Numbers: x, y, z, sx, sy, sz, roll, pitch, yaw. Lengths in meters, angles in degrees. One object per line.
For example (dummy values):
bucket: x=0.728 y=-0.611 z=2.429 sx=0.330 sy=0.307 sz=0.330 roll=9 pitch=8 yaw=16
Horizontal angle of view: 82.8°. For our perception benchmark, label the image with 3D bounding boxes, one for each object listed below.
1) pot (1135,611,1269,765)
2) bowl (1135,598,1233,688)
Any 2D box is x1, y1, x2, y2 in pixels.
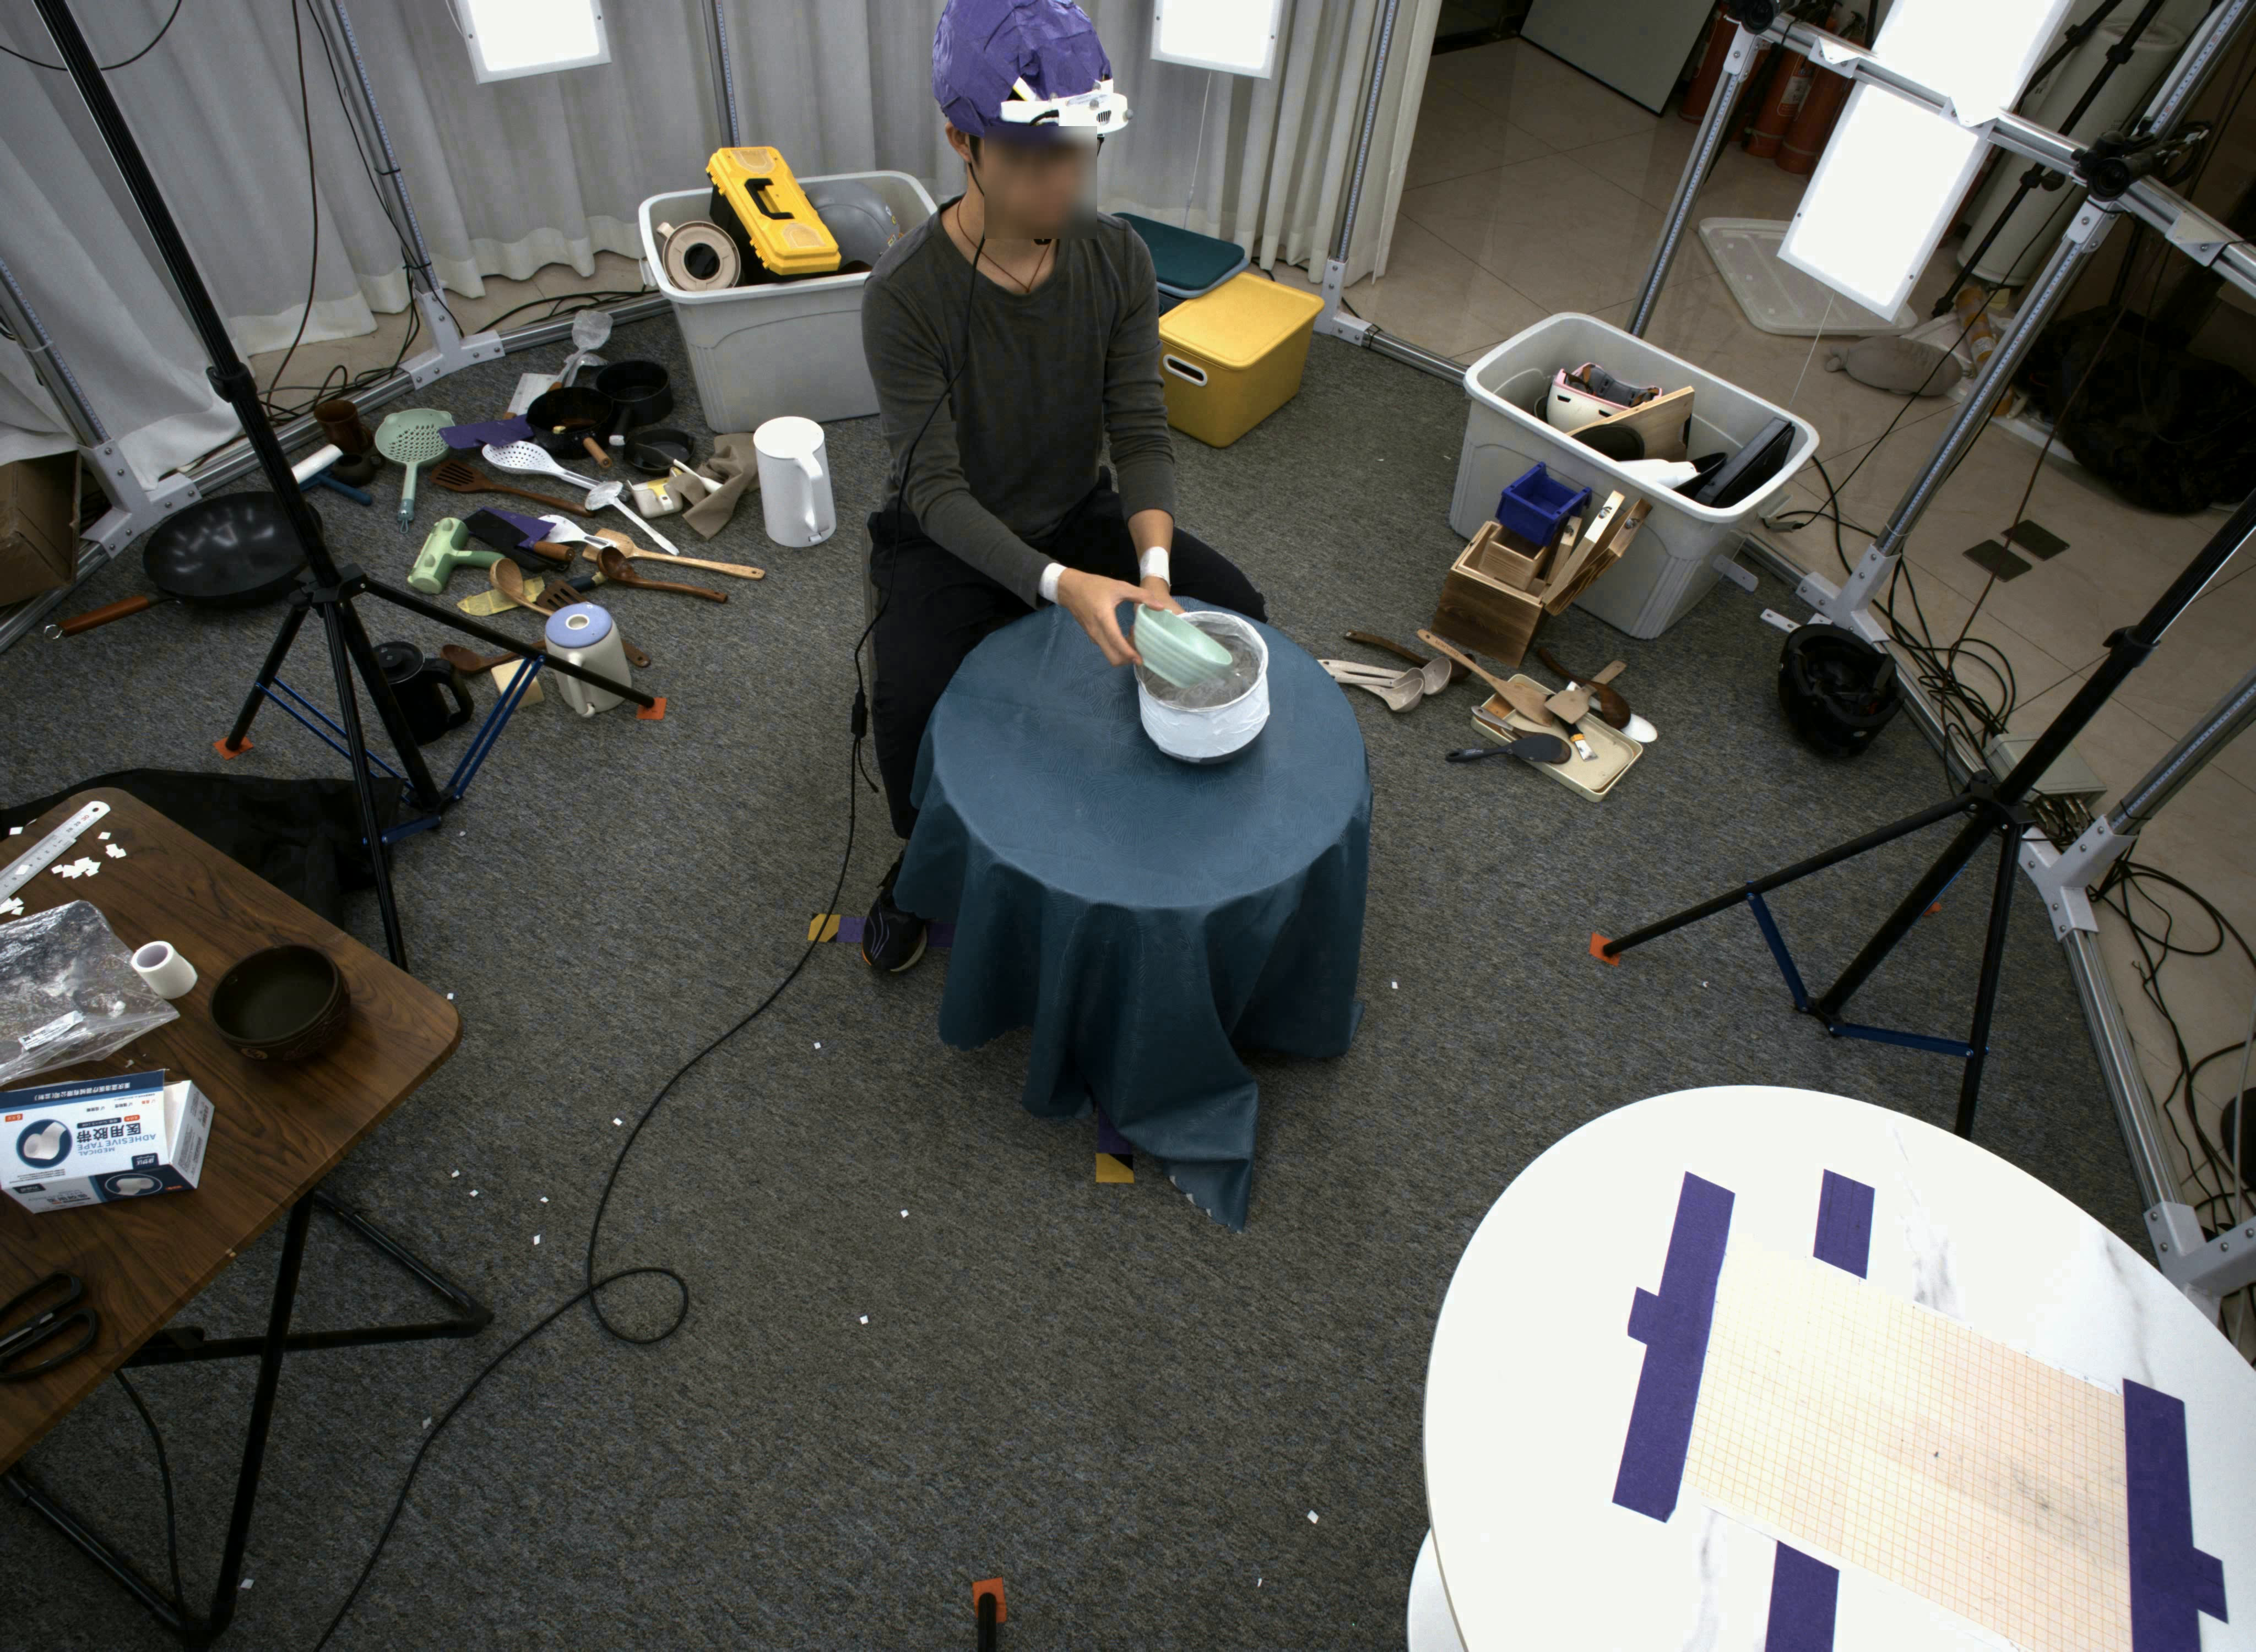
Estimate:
pot: x=0.089 y=-0.201 z=1.748 sx=0.179 sy=0.133 sz=0.239 roll=-26 pitch=55 yaw=-12
bowl: x=0.062 y=-0.229 z=1.657 sx=0.150 sy=0.058 sz=0.154 roll=32 pitch=21 yaw=-14
